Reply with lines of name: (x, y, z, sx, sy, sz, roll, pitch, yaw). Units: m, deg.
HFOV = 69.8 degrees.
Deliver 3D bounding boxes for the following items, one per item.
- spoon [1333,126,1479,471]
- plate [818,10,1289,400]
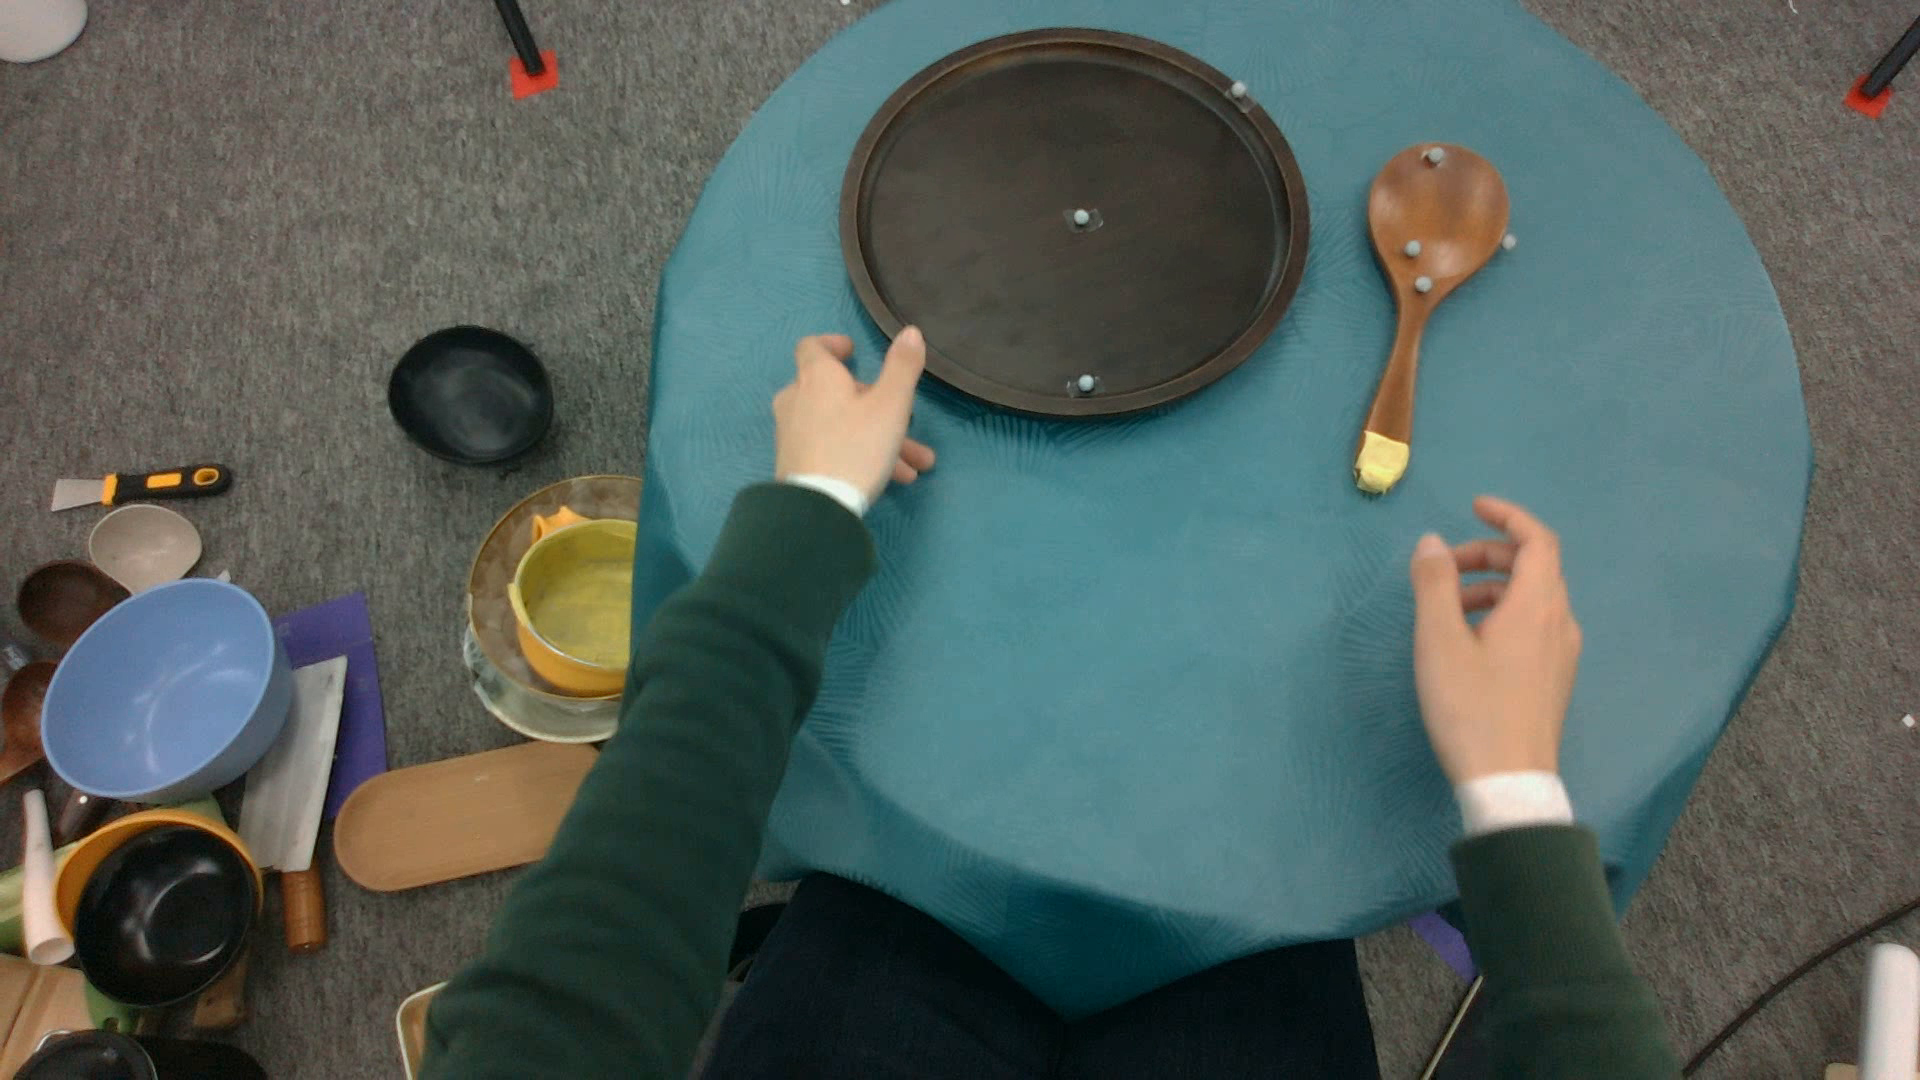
spoon: (0.226, -0.131, 0.726, 0.075, 0.017, 0.216, 15, 67, 6)
plate: (0.050, -0.185, 0.746, 0.255, 0.029, 0.255, 0, 65, 0)
